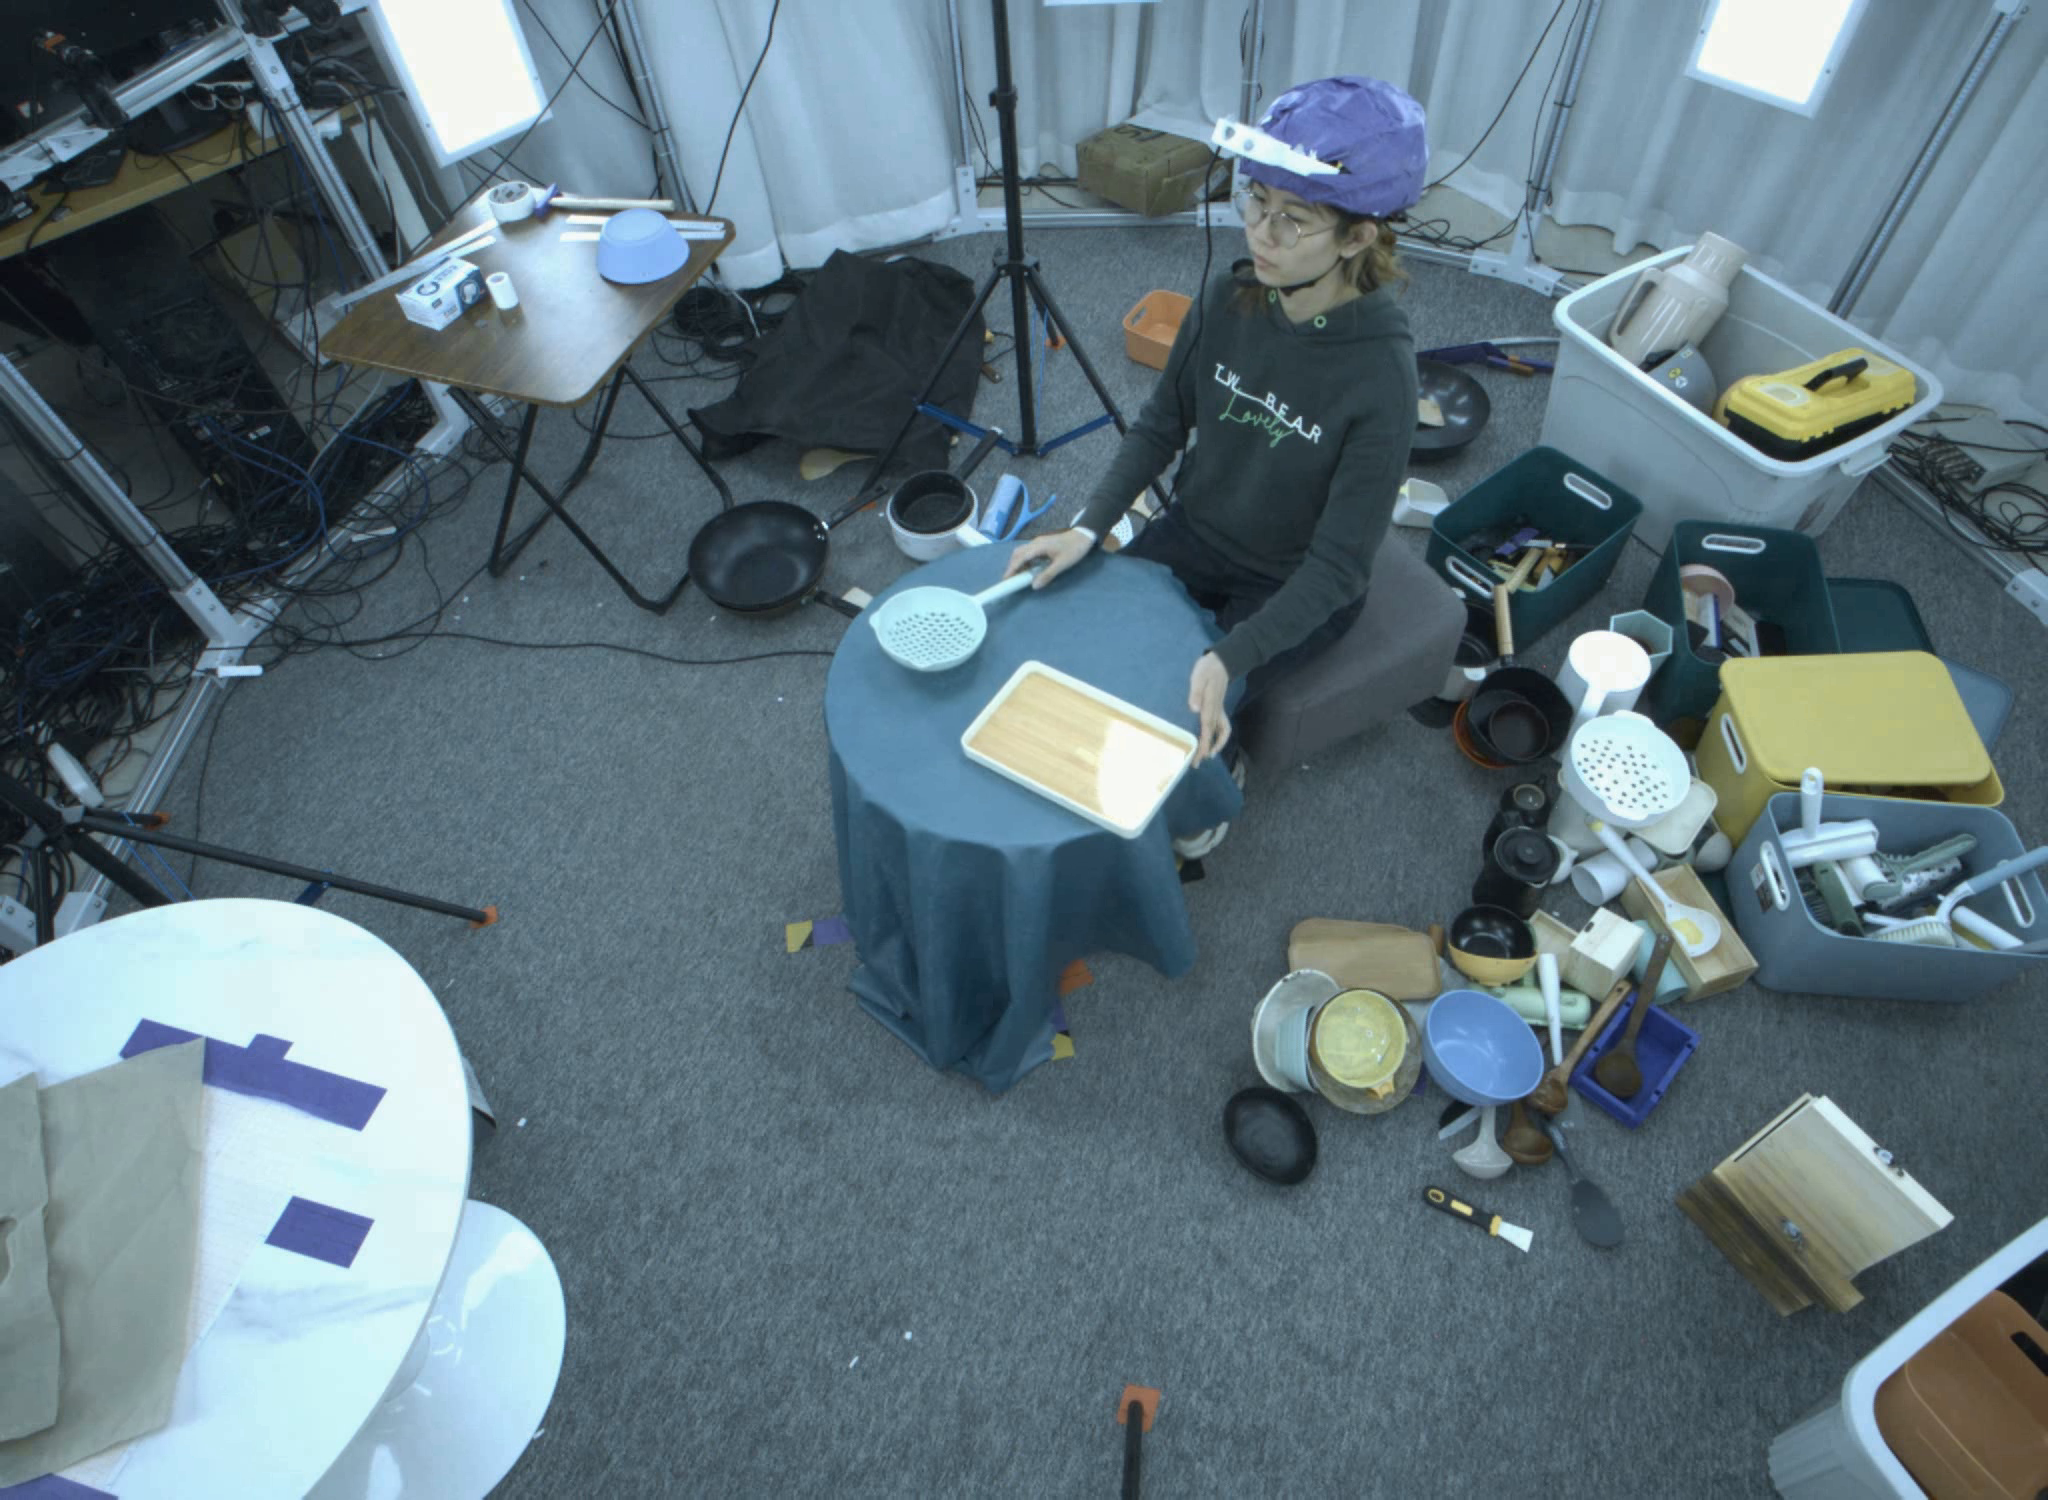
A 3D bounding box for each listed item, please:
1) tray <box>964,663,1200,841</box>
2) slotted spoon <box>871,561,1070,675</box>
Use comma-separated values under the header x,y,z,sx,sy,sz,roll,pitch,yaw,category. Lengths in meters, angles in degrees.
x,y,z,sx,sy,sz,roll,pitch,yaw,category
0.083,-0.002,1.780,0.296,0.028,0.192,27,60,19,tray
-0.067,-0.225,1.918,0.361,0.076,0.166,-36,62,-21,slotted spoon
